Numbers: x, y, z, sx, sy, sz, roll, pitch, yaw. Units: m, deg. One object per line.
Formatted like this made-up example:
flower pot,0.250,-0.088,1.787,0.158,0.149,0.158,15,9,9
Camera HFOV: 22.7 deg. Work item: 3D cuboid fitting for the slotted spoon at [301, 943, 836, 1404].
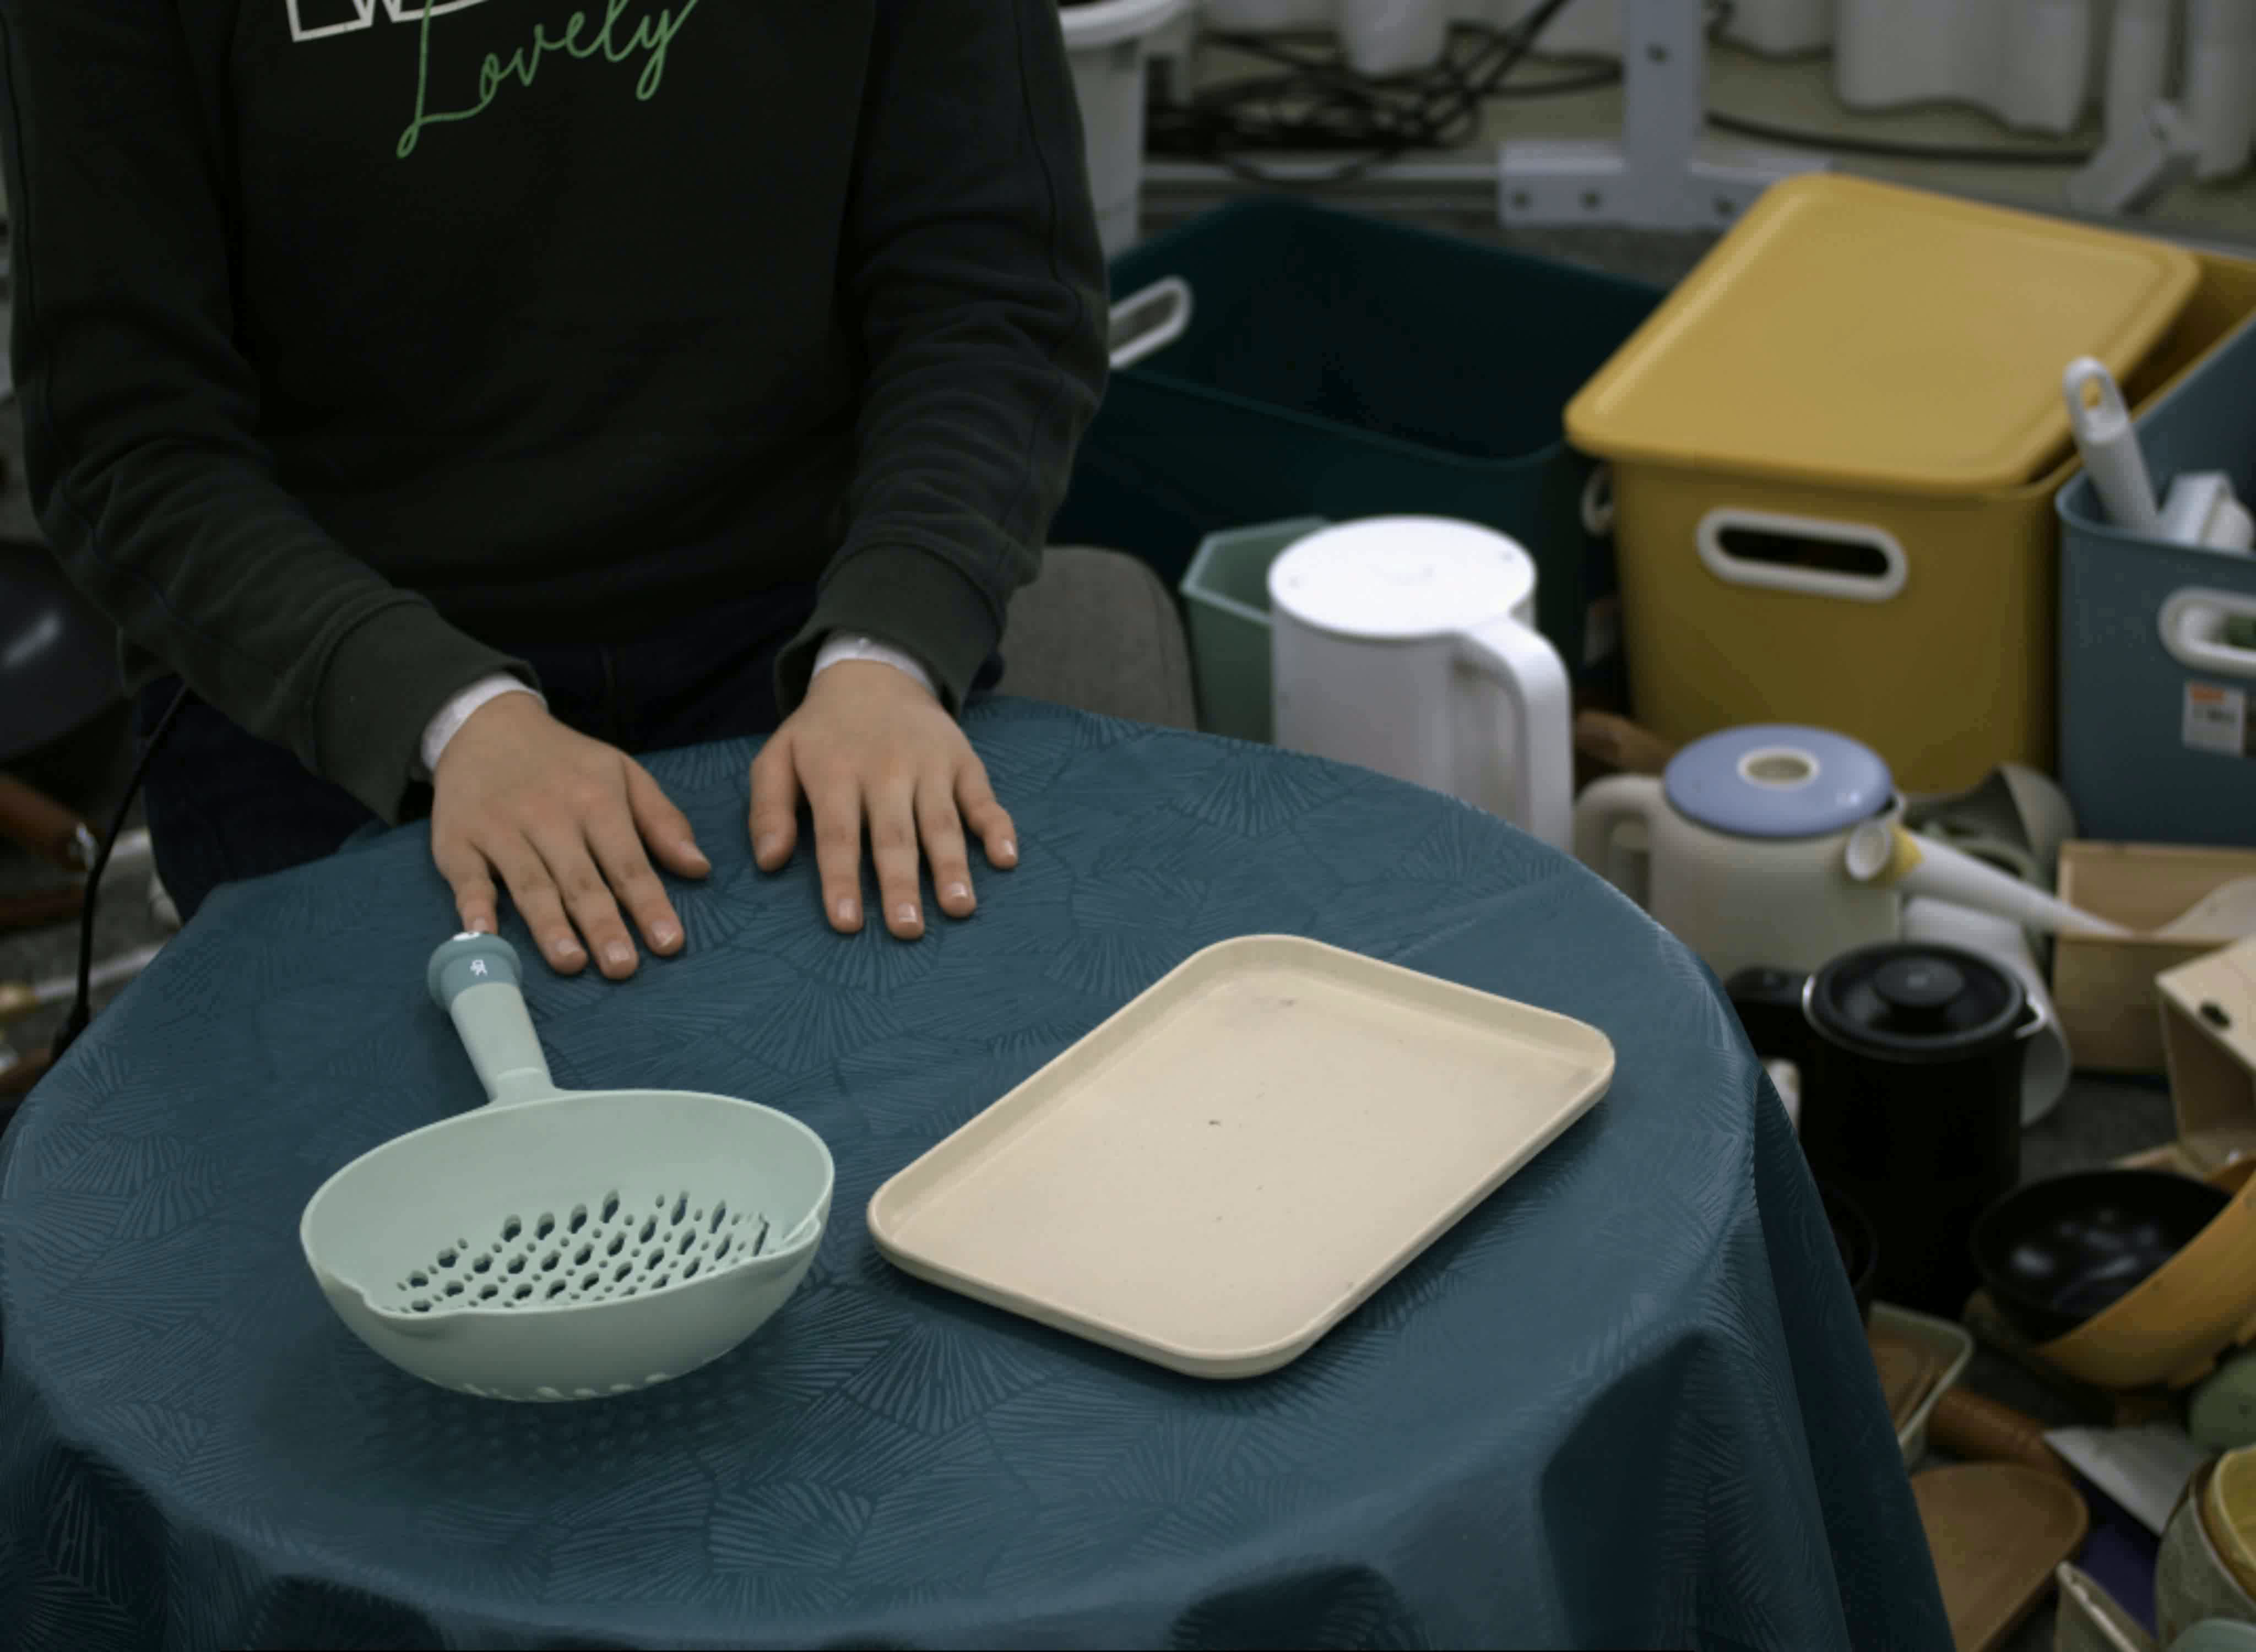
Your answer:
slotted spoon,-0.197,0.099,1.858,0.169,0.074,0.362,-8,27,-12

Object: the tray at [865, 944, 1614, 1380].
tray,0.039,0.110,1.863,0.170,0.017,0.243,16,32,32
